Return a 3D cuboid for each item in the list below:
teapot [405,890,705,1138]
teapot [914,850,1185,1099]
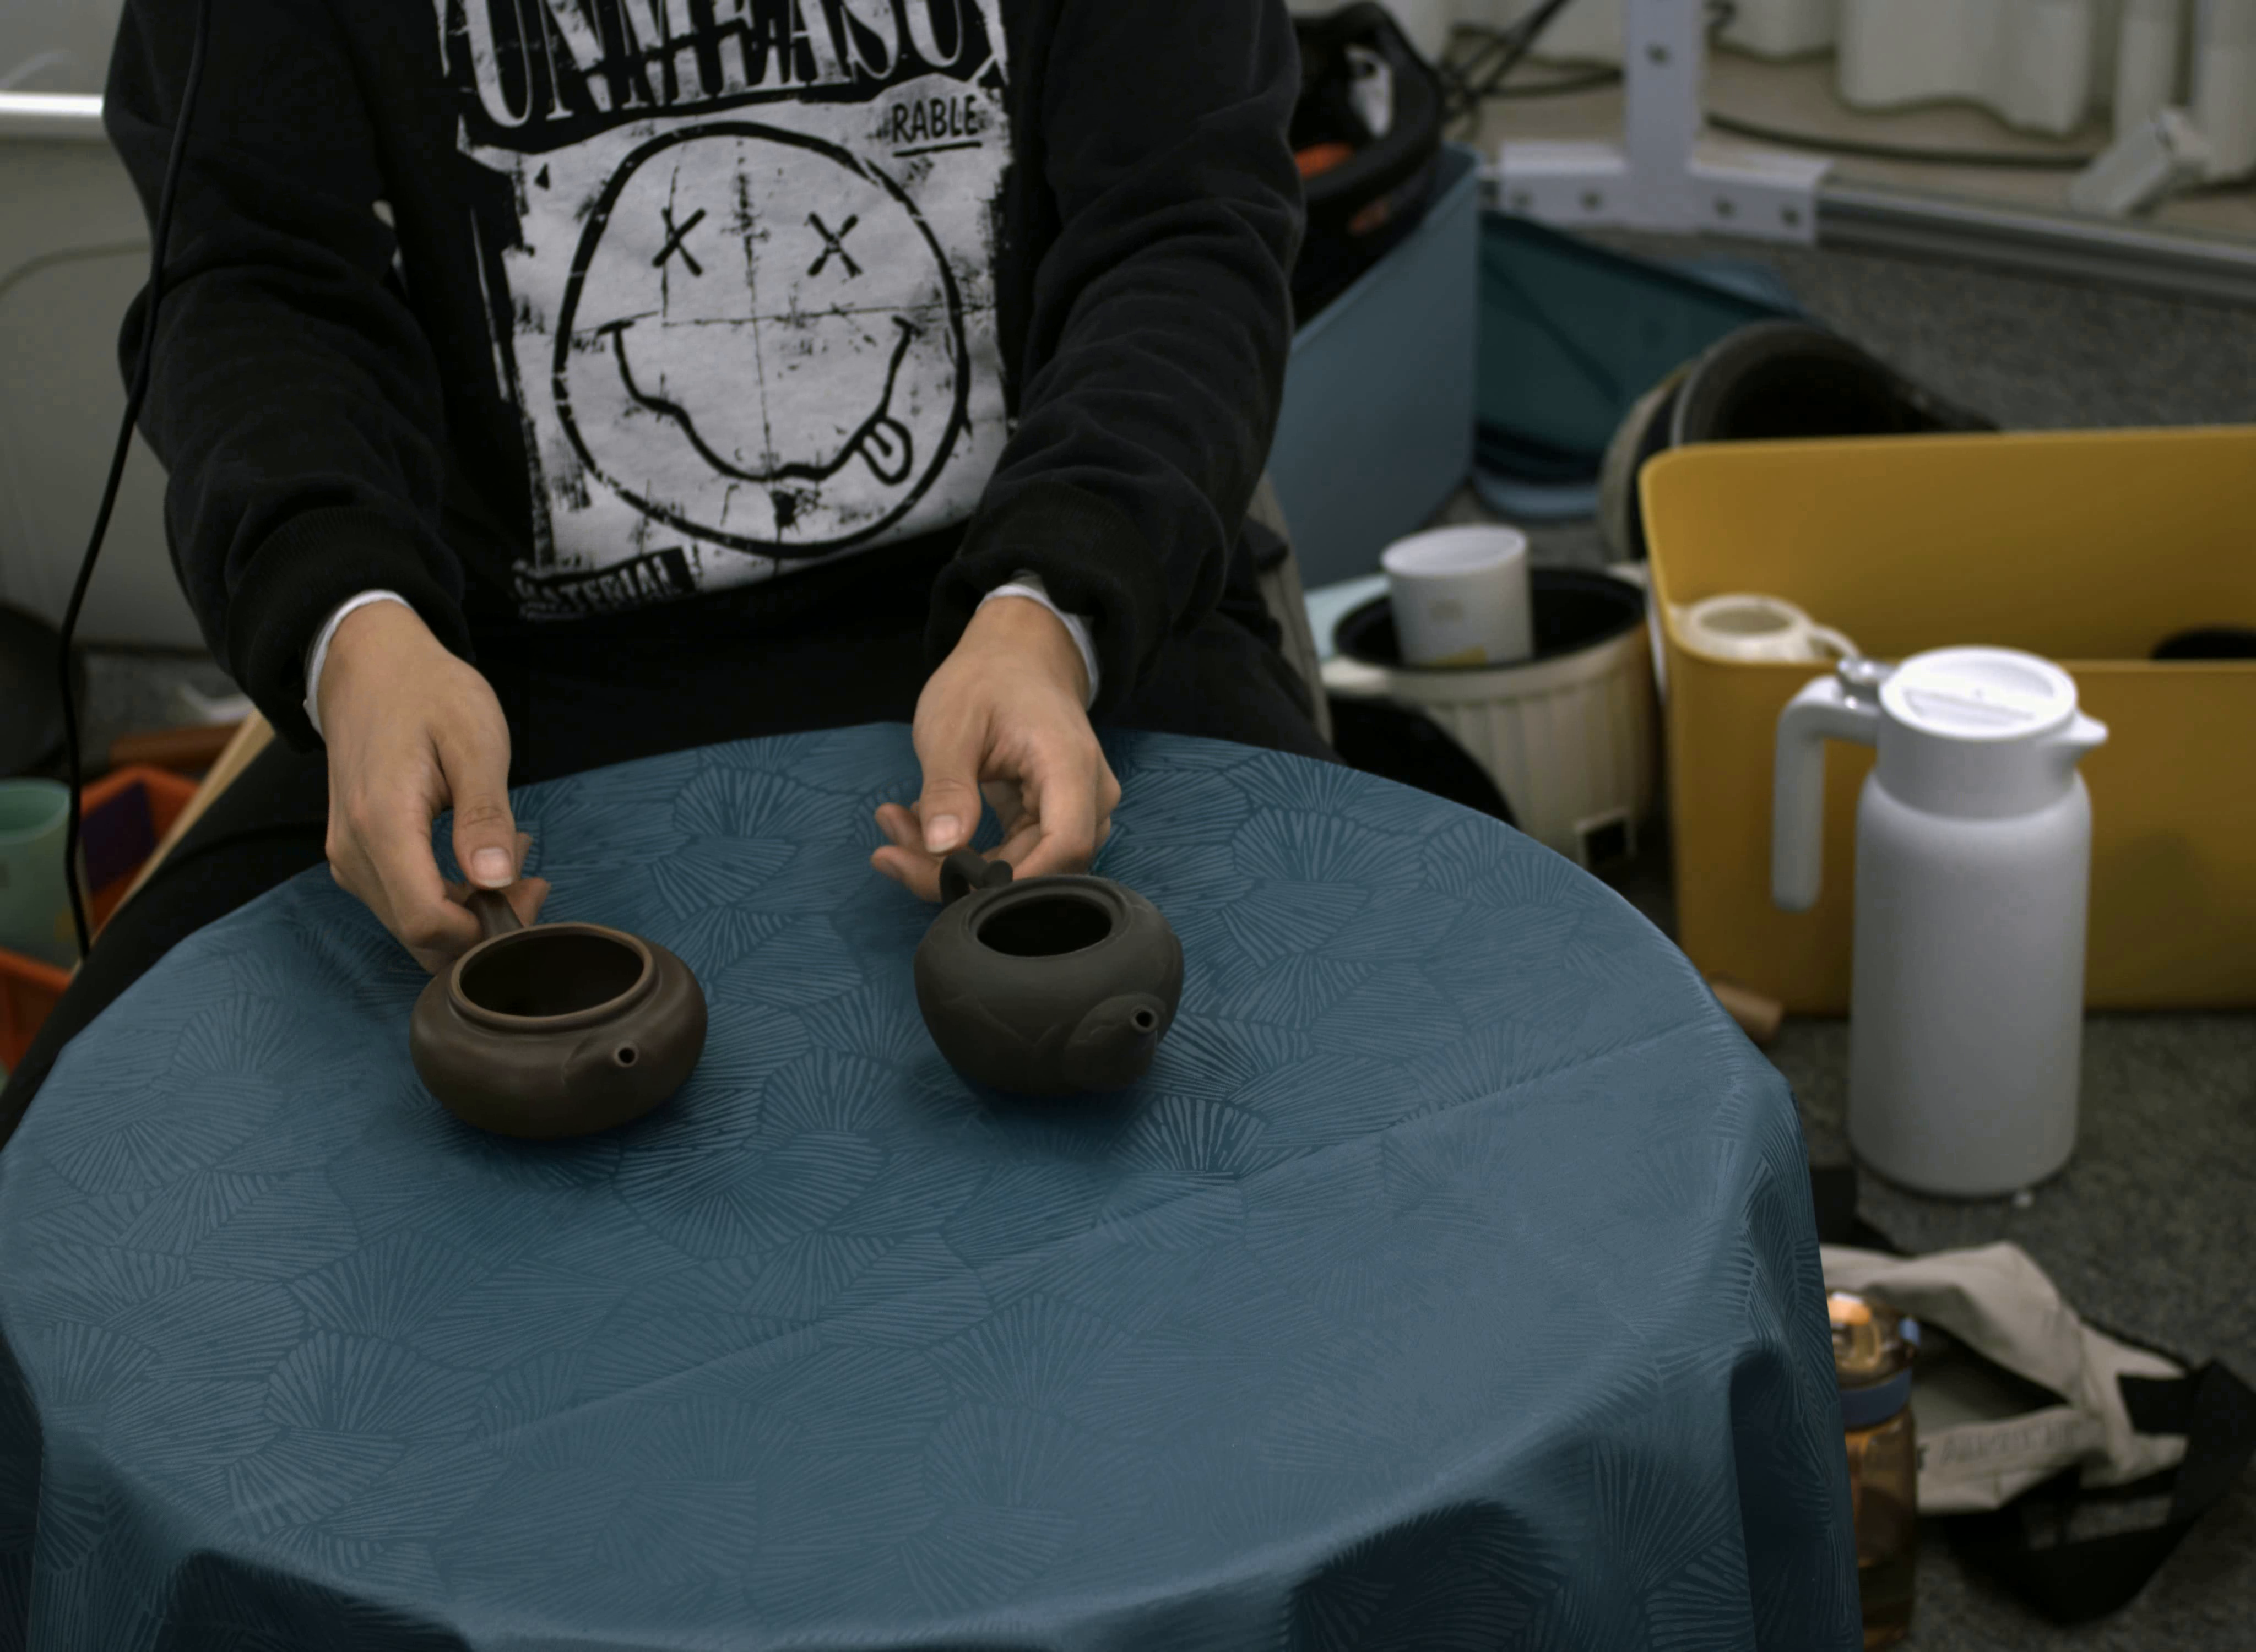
[{"bbox_3d":[-0.198,0.067,1.925,0.103,0.053,0.154,-16,30,-28],"label":"teapot"},{"bbox_3d":[-0.028,0.053,1.926,0.093,0.064,0.155,-14,29,-24],"label":"teapot"}]
